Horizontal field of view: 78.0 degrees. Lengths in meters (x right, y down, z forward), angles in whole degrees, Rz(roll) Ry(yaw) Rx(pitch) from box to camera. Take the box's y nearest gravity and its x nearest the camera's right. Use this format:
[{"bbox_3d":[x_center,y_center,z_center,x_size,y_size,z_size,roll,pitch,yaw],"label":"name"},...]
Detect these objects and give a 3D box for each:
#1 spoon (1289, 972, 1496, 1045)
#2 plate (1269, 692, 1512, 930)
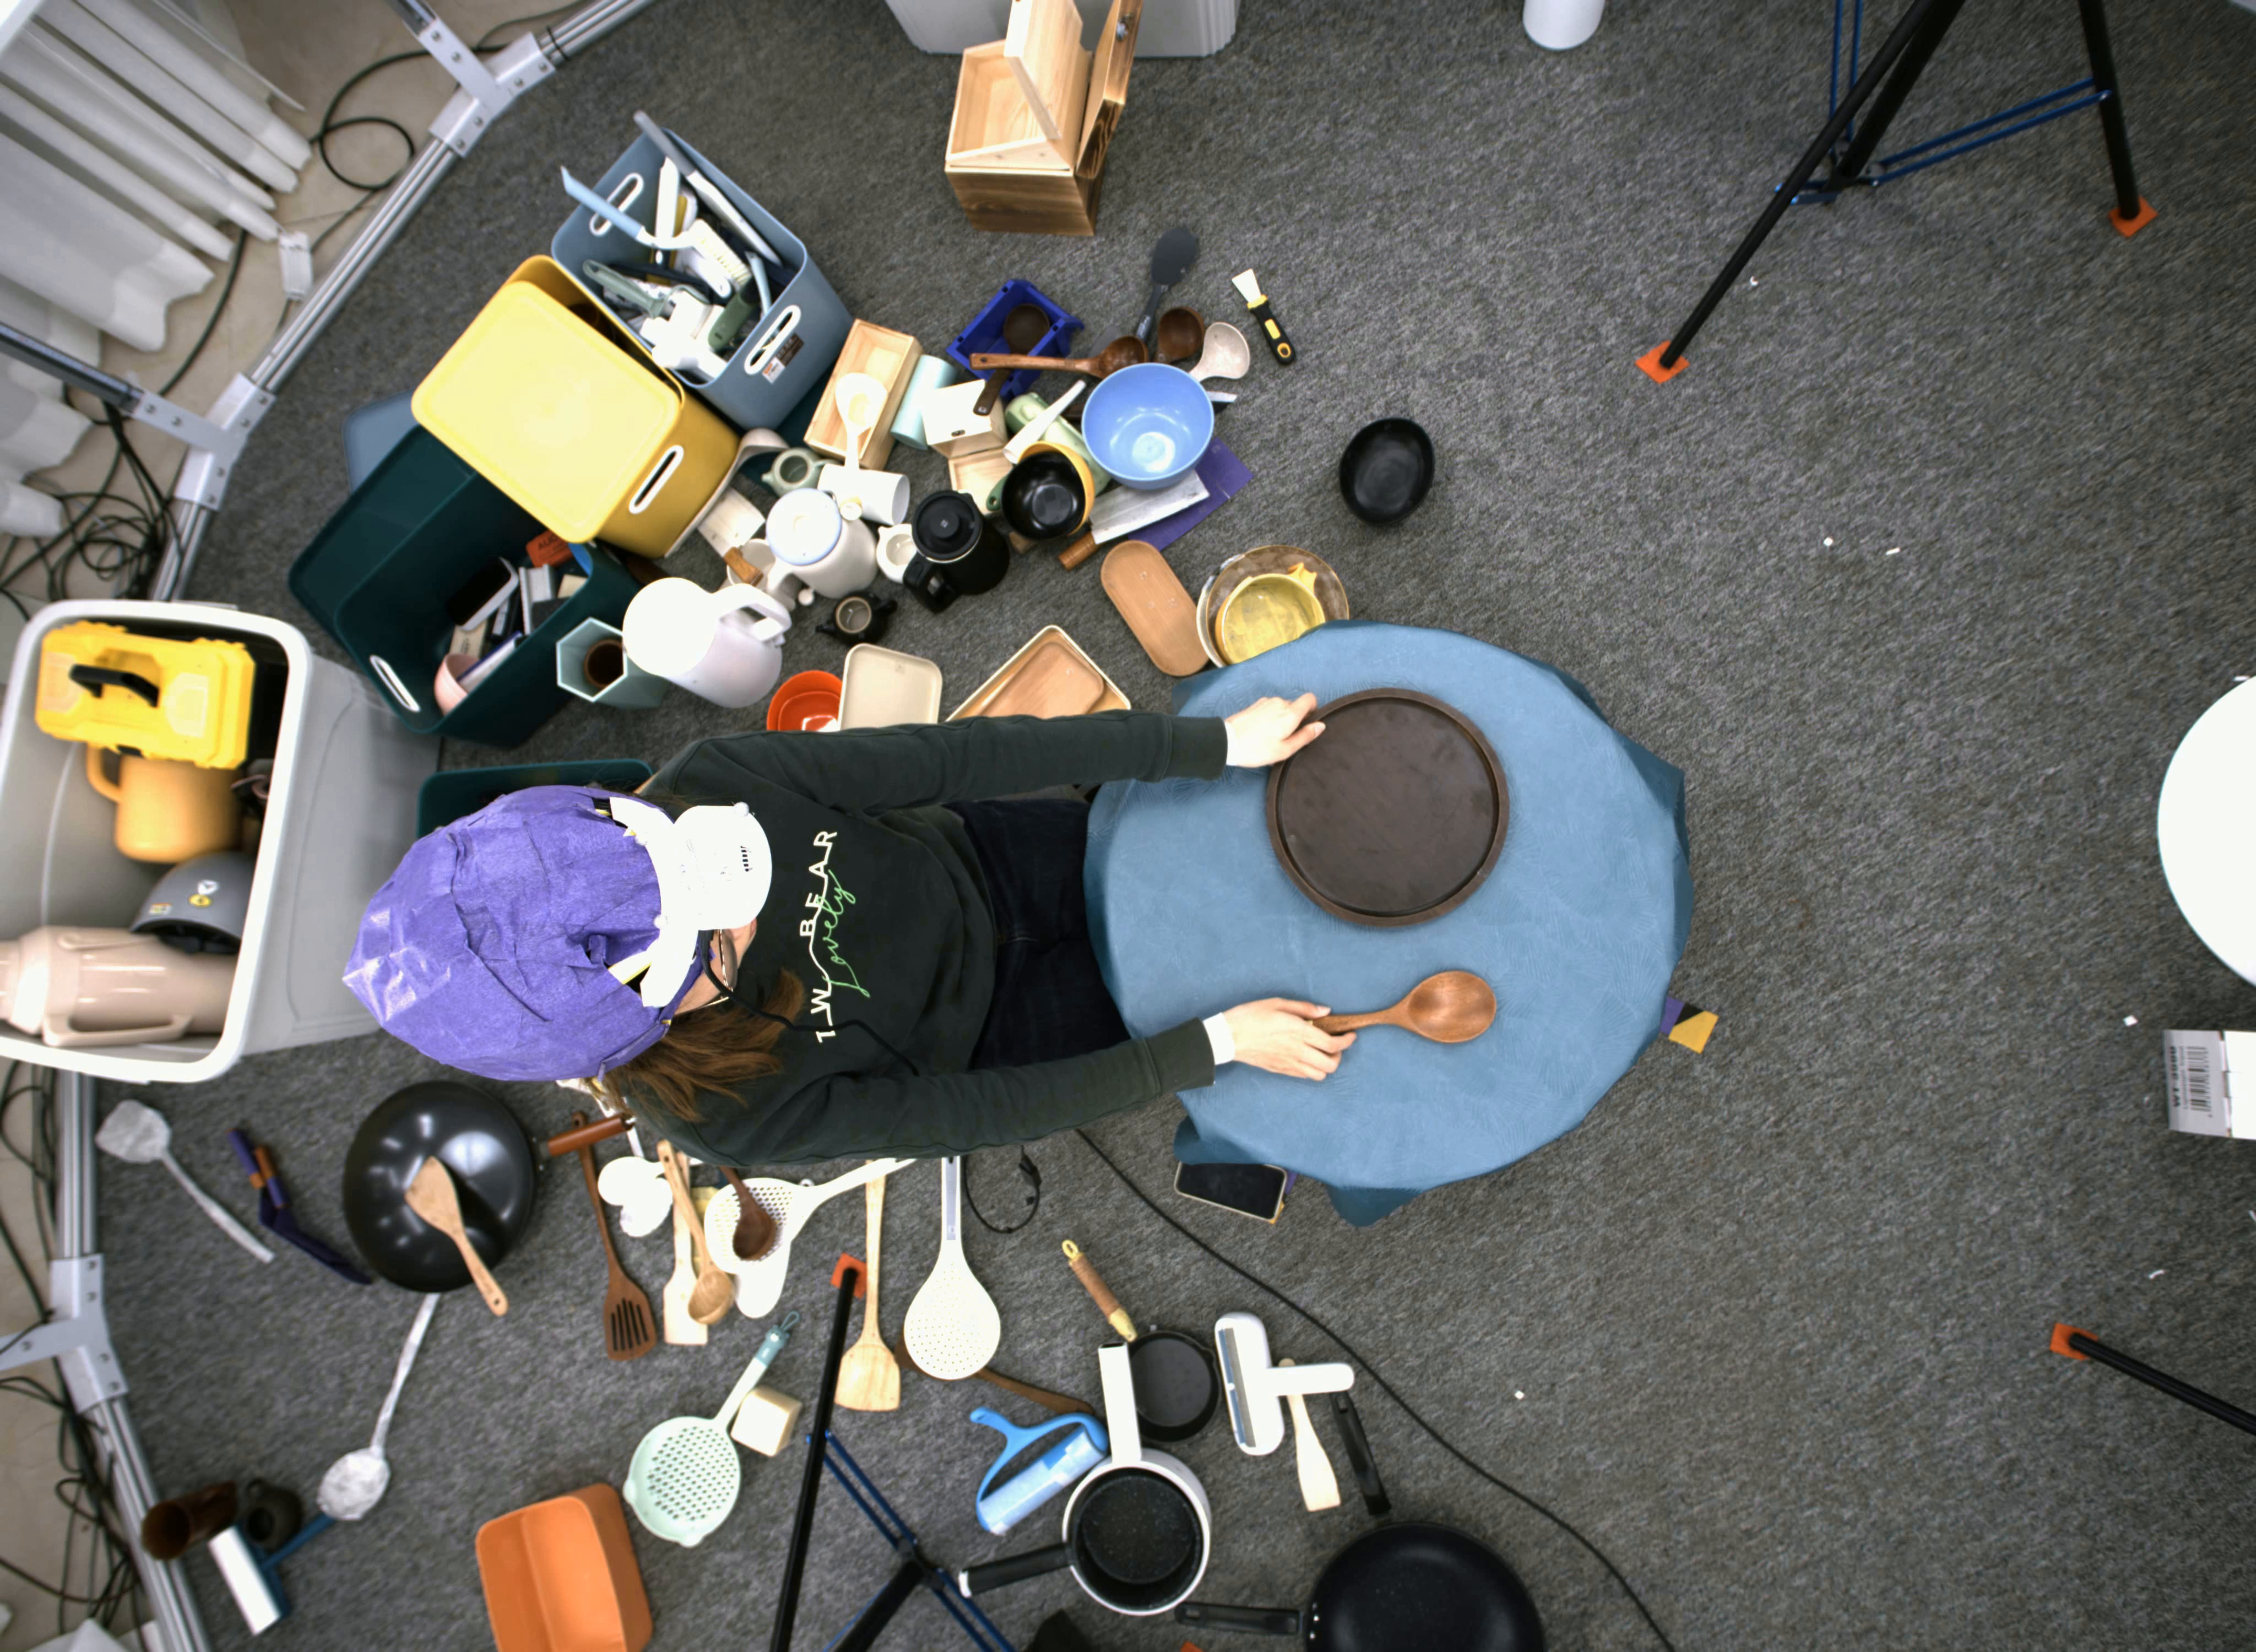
[{"bbox_3d":[0.275,0.199,1.445,0.217,0.017,0.075,-10,83,8],"label":"spoon"},{"bbox_3d":[0.275,-0.018,1.456,0.255,0.029,0.253,-1,87,8],"label":"plate"}]
